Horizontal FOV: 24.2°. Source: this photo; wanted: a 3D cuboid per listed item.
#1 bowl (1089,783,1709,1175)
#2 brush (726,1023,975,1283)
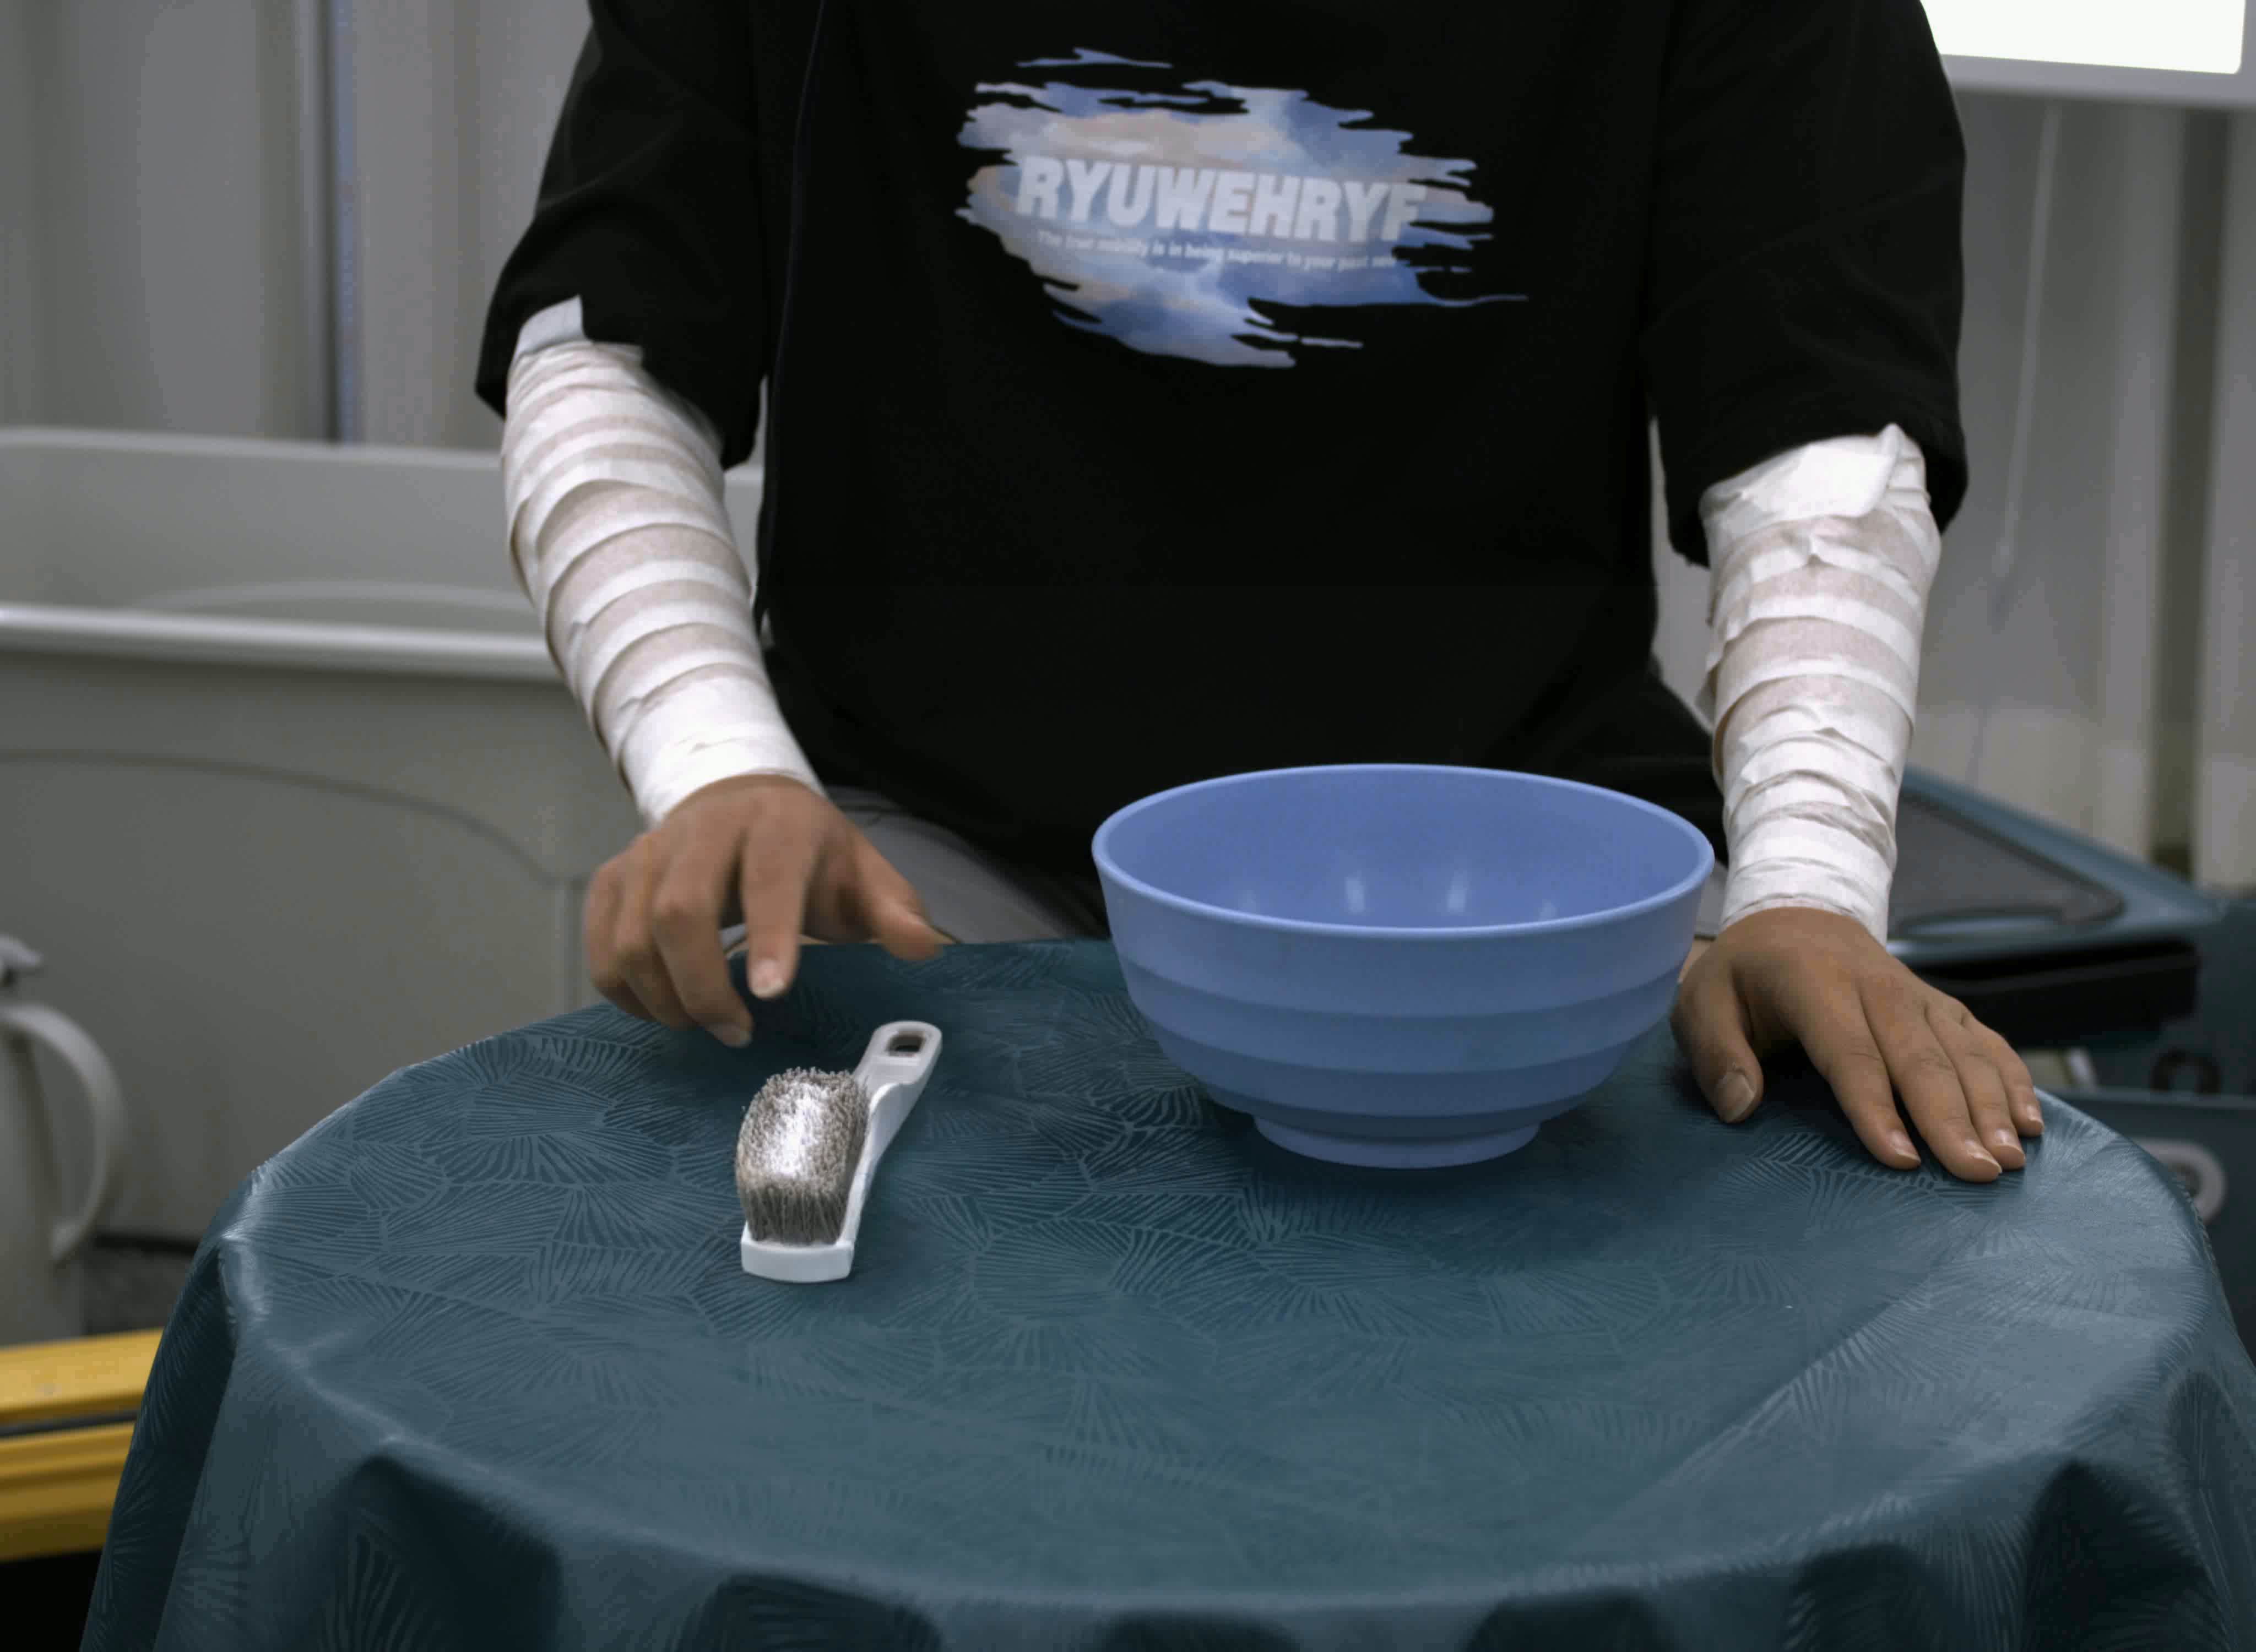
[{"bbox_3d":[0.086,0.053,1.676,0.196,0.096,0.195,-1,14,1],"label":"bowl"},{"bbox_3d":[-0.082,0.081,1.639,0.034,0.050,0.243,0,15,10],"label":"brush"}]
